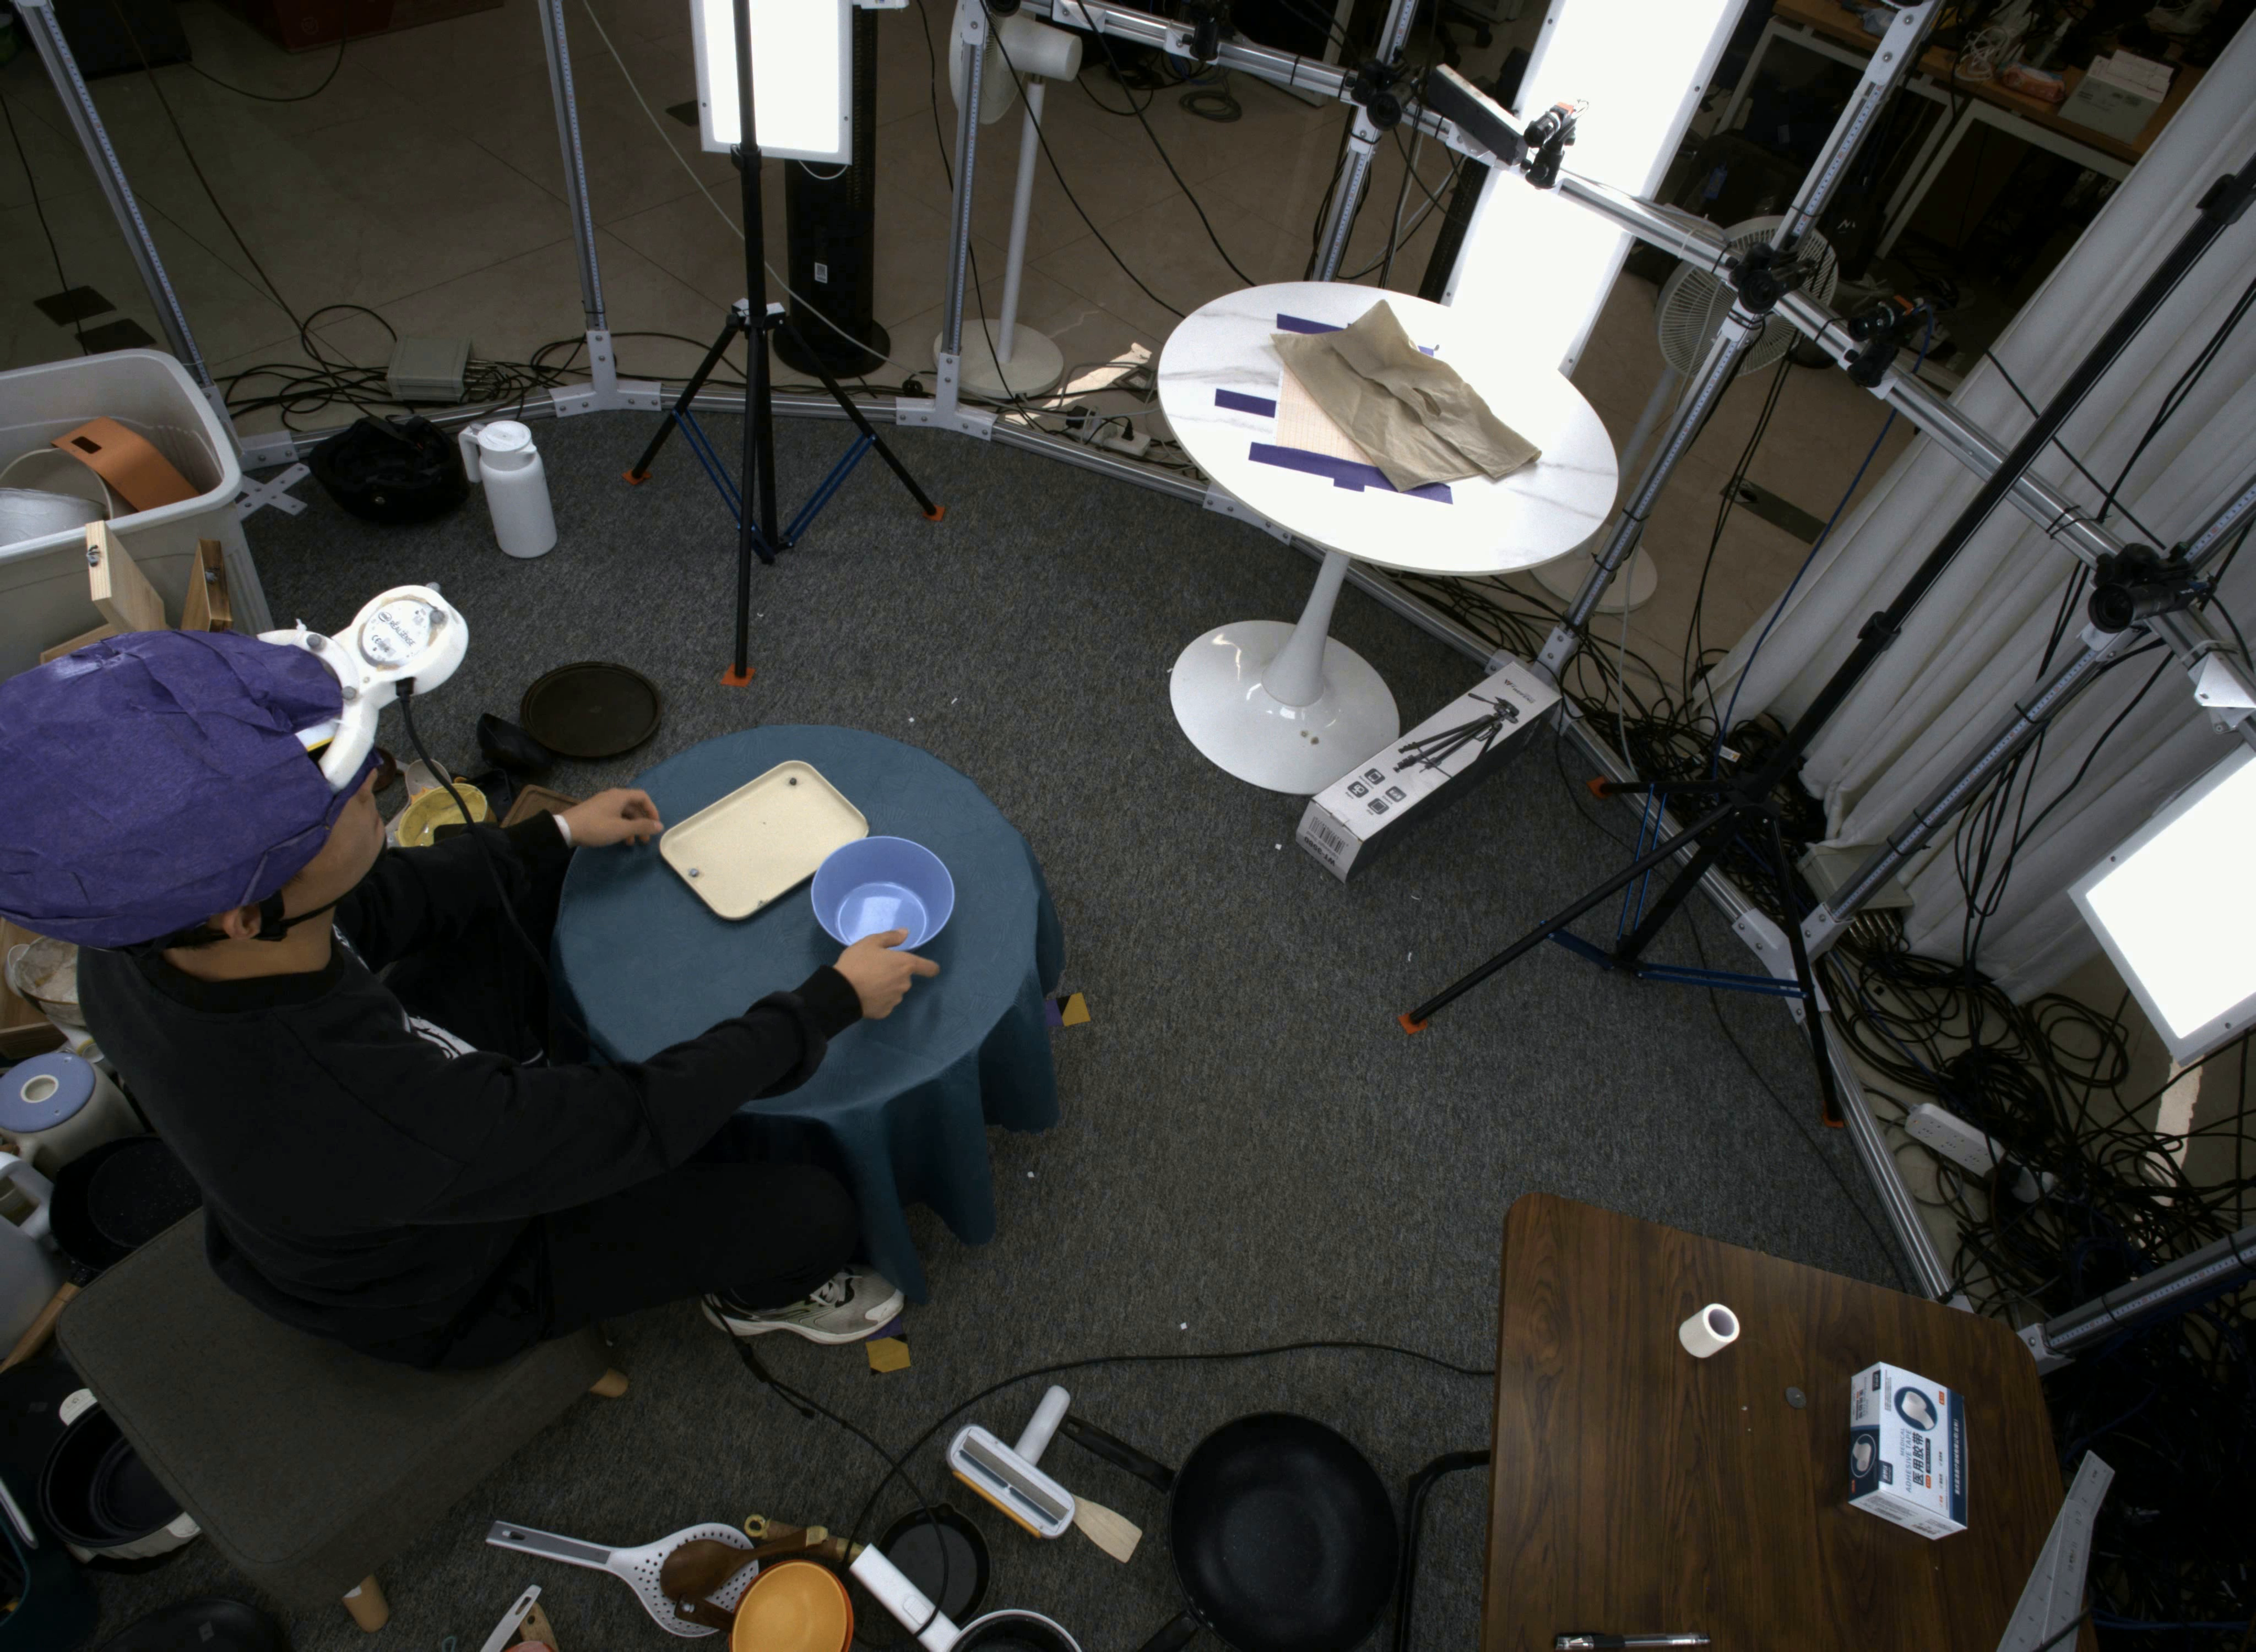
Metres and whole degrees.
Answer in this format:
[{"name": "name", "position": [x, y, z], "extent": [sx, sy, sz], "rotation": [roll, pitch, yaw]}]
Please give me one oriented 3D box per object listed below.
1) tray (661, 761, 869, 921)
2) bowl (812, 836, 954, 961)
[{"name": "tray", "position": [-0.473, 0.016, 1.693], "extent": [0.167, 0.018, 0.240], "rotation": [41, 55, 17]}, {"name": "bowl", "position": [-0.308, 0.101, 1.638], "extent": [0.175, 0.072, 0.173], "rotation": [7, 52, -8]}]
